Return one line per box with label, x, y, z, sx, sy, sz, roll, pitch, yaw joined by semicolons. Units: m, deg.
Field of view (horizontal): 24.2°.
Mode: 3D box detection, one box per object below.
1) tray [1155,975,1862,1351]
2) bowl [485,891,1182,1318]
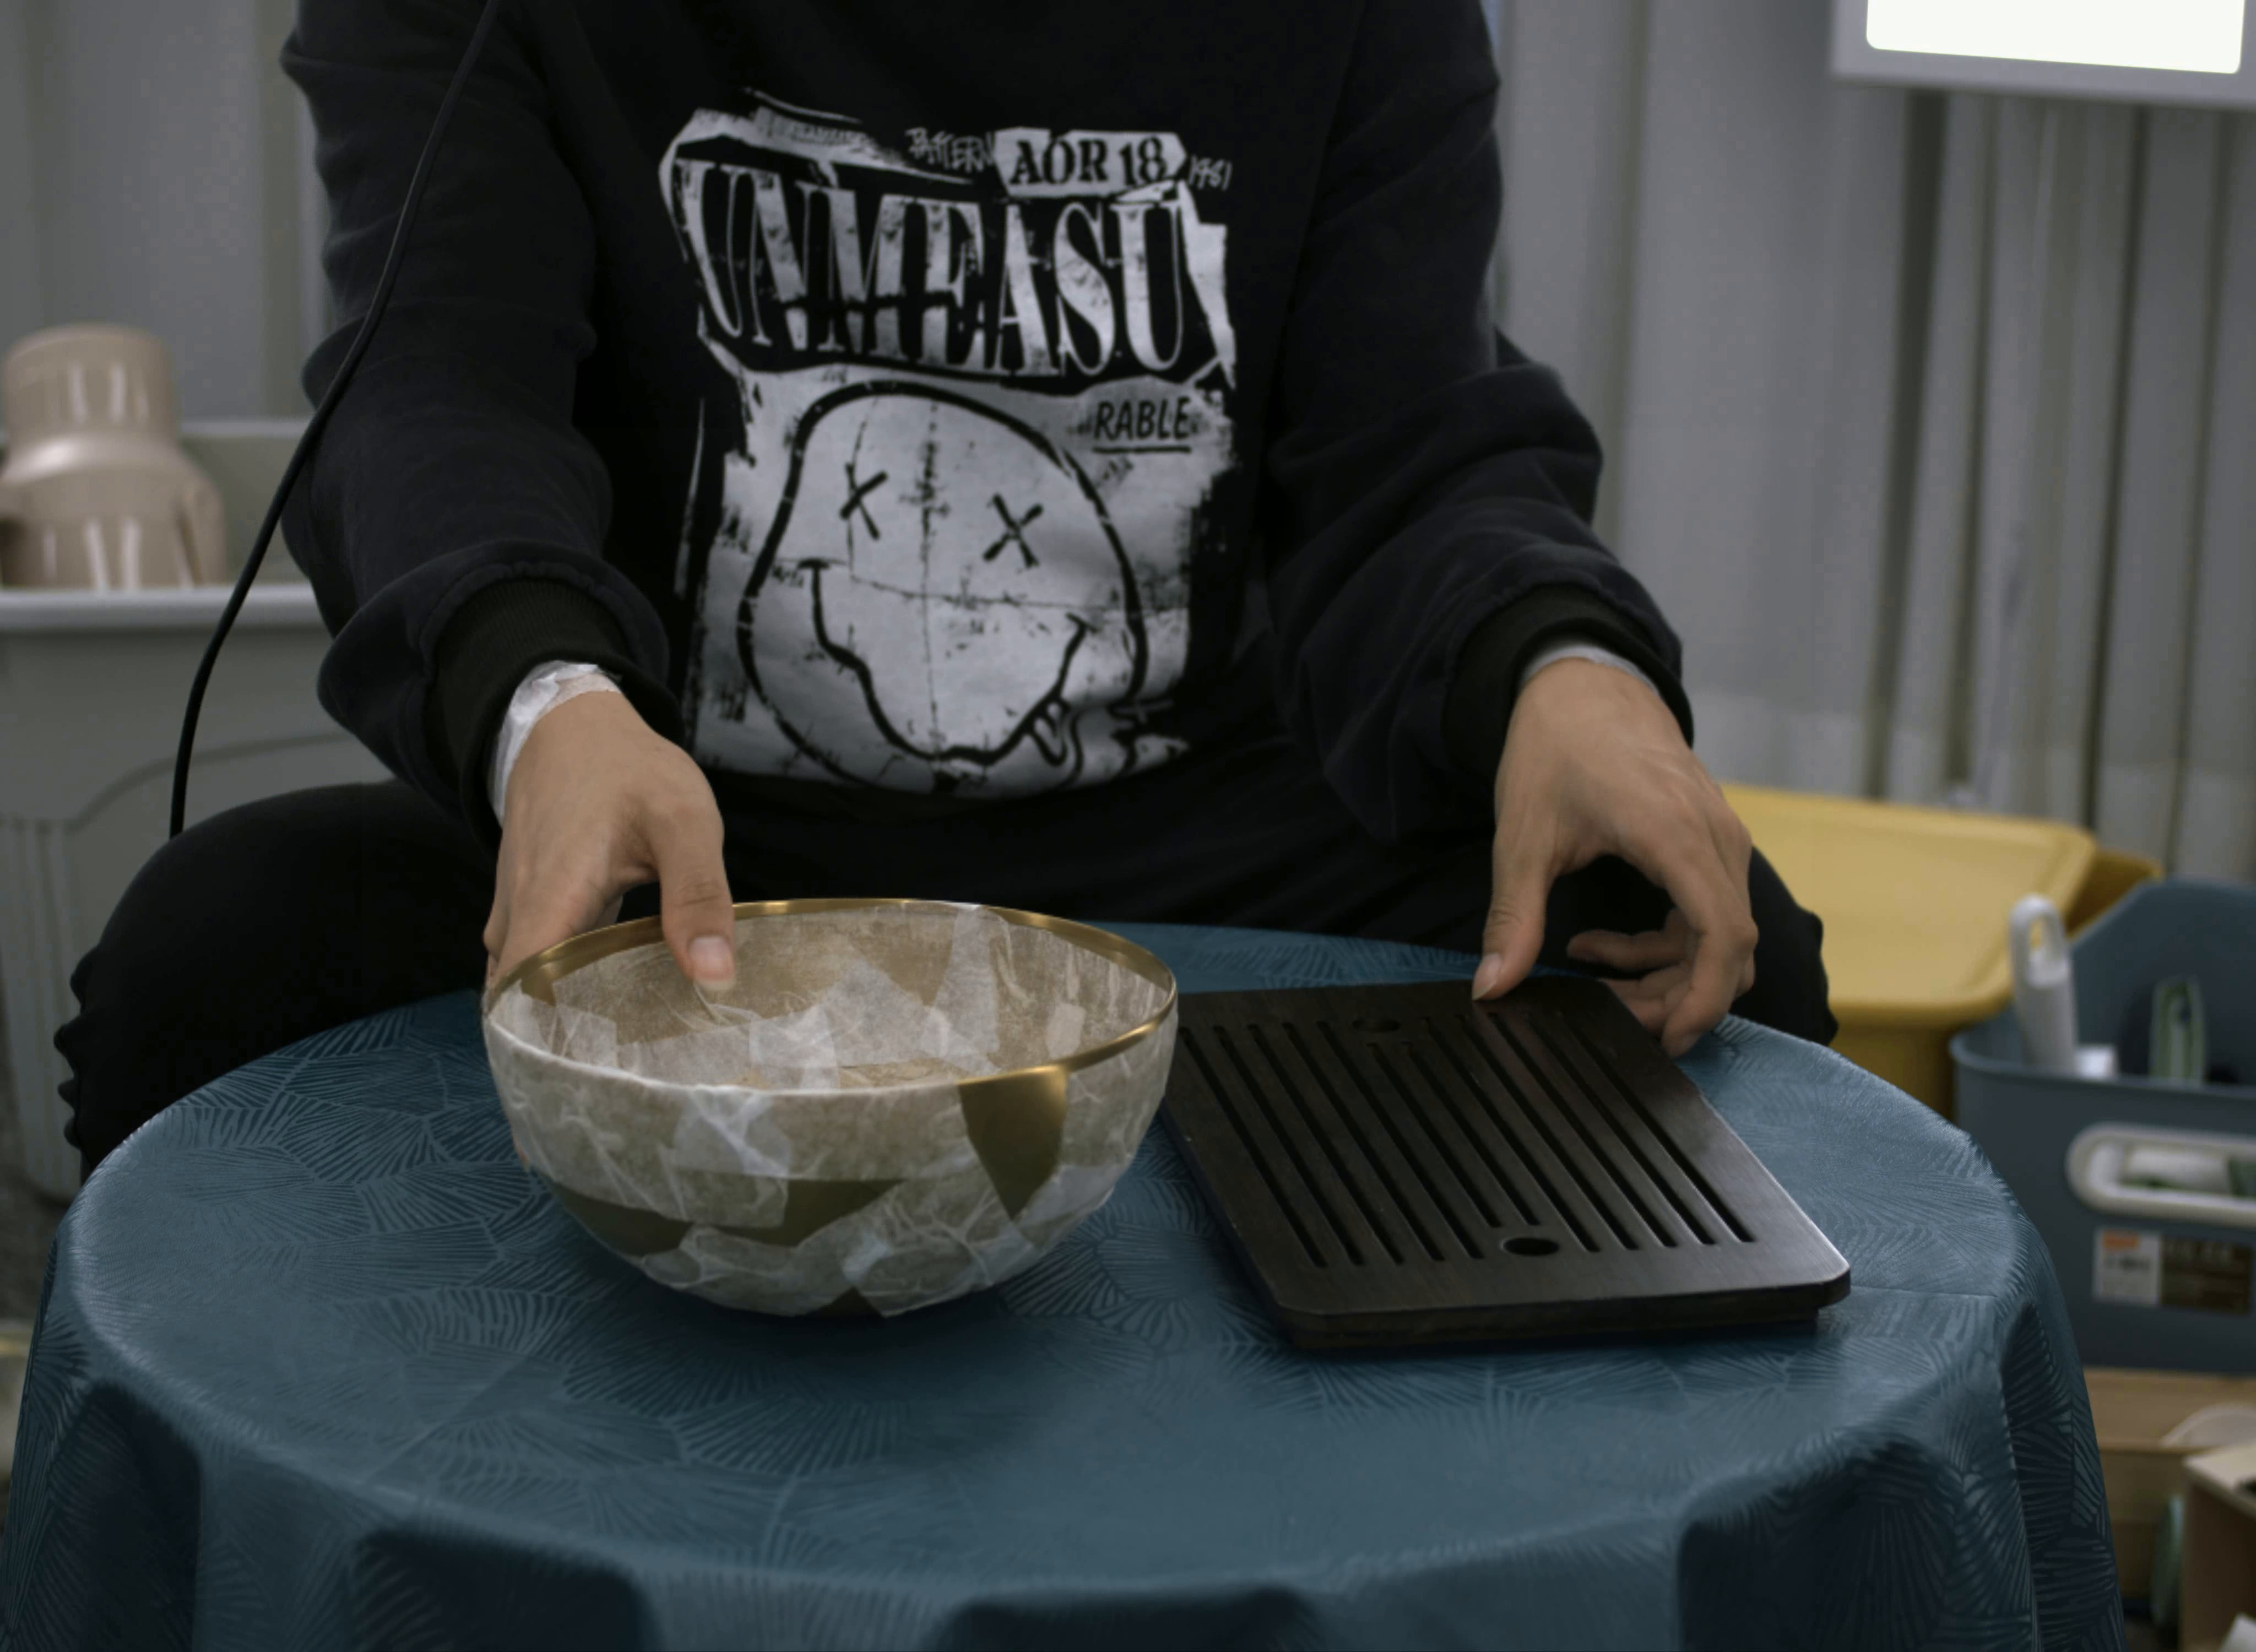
tray;0.104;0.102;1.637;0.170;0.019;0.303;-2;16;-10
bowl;-0.081;0.088;1.536;0.214;0.095;0.213;-1;15;1
